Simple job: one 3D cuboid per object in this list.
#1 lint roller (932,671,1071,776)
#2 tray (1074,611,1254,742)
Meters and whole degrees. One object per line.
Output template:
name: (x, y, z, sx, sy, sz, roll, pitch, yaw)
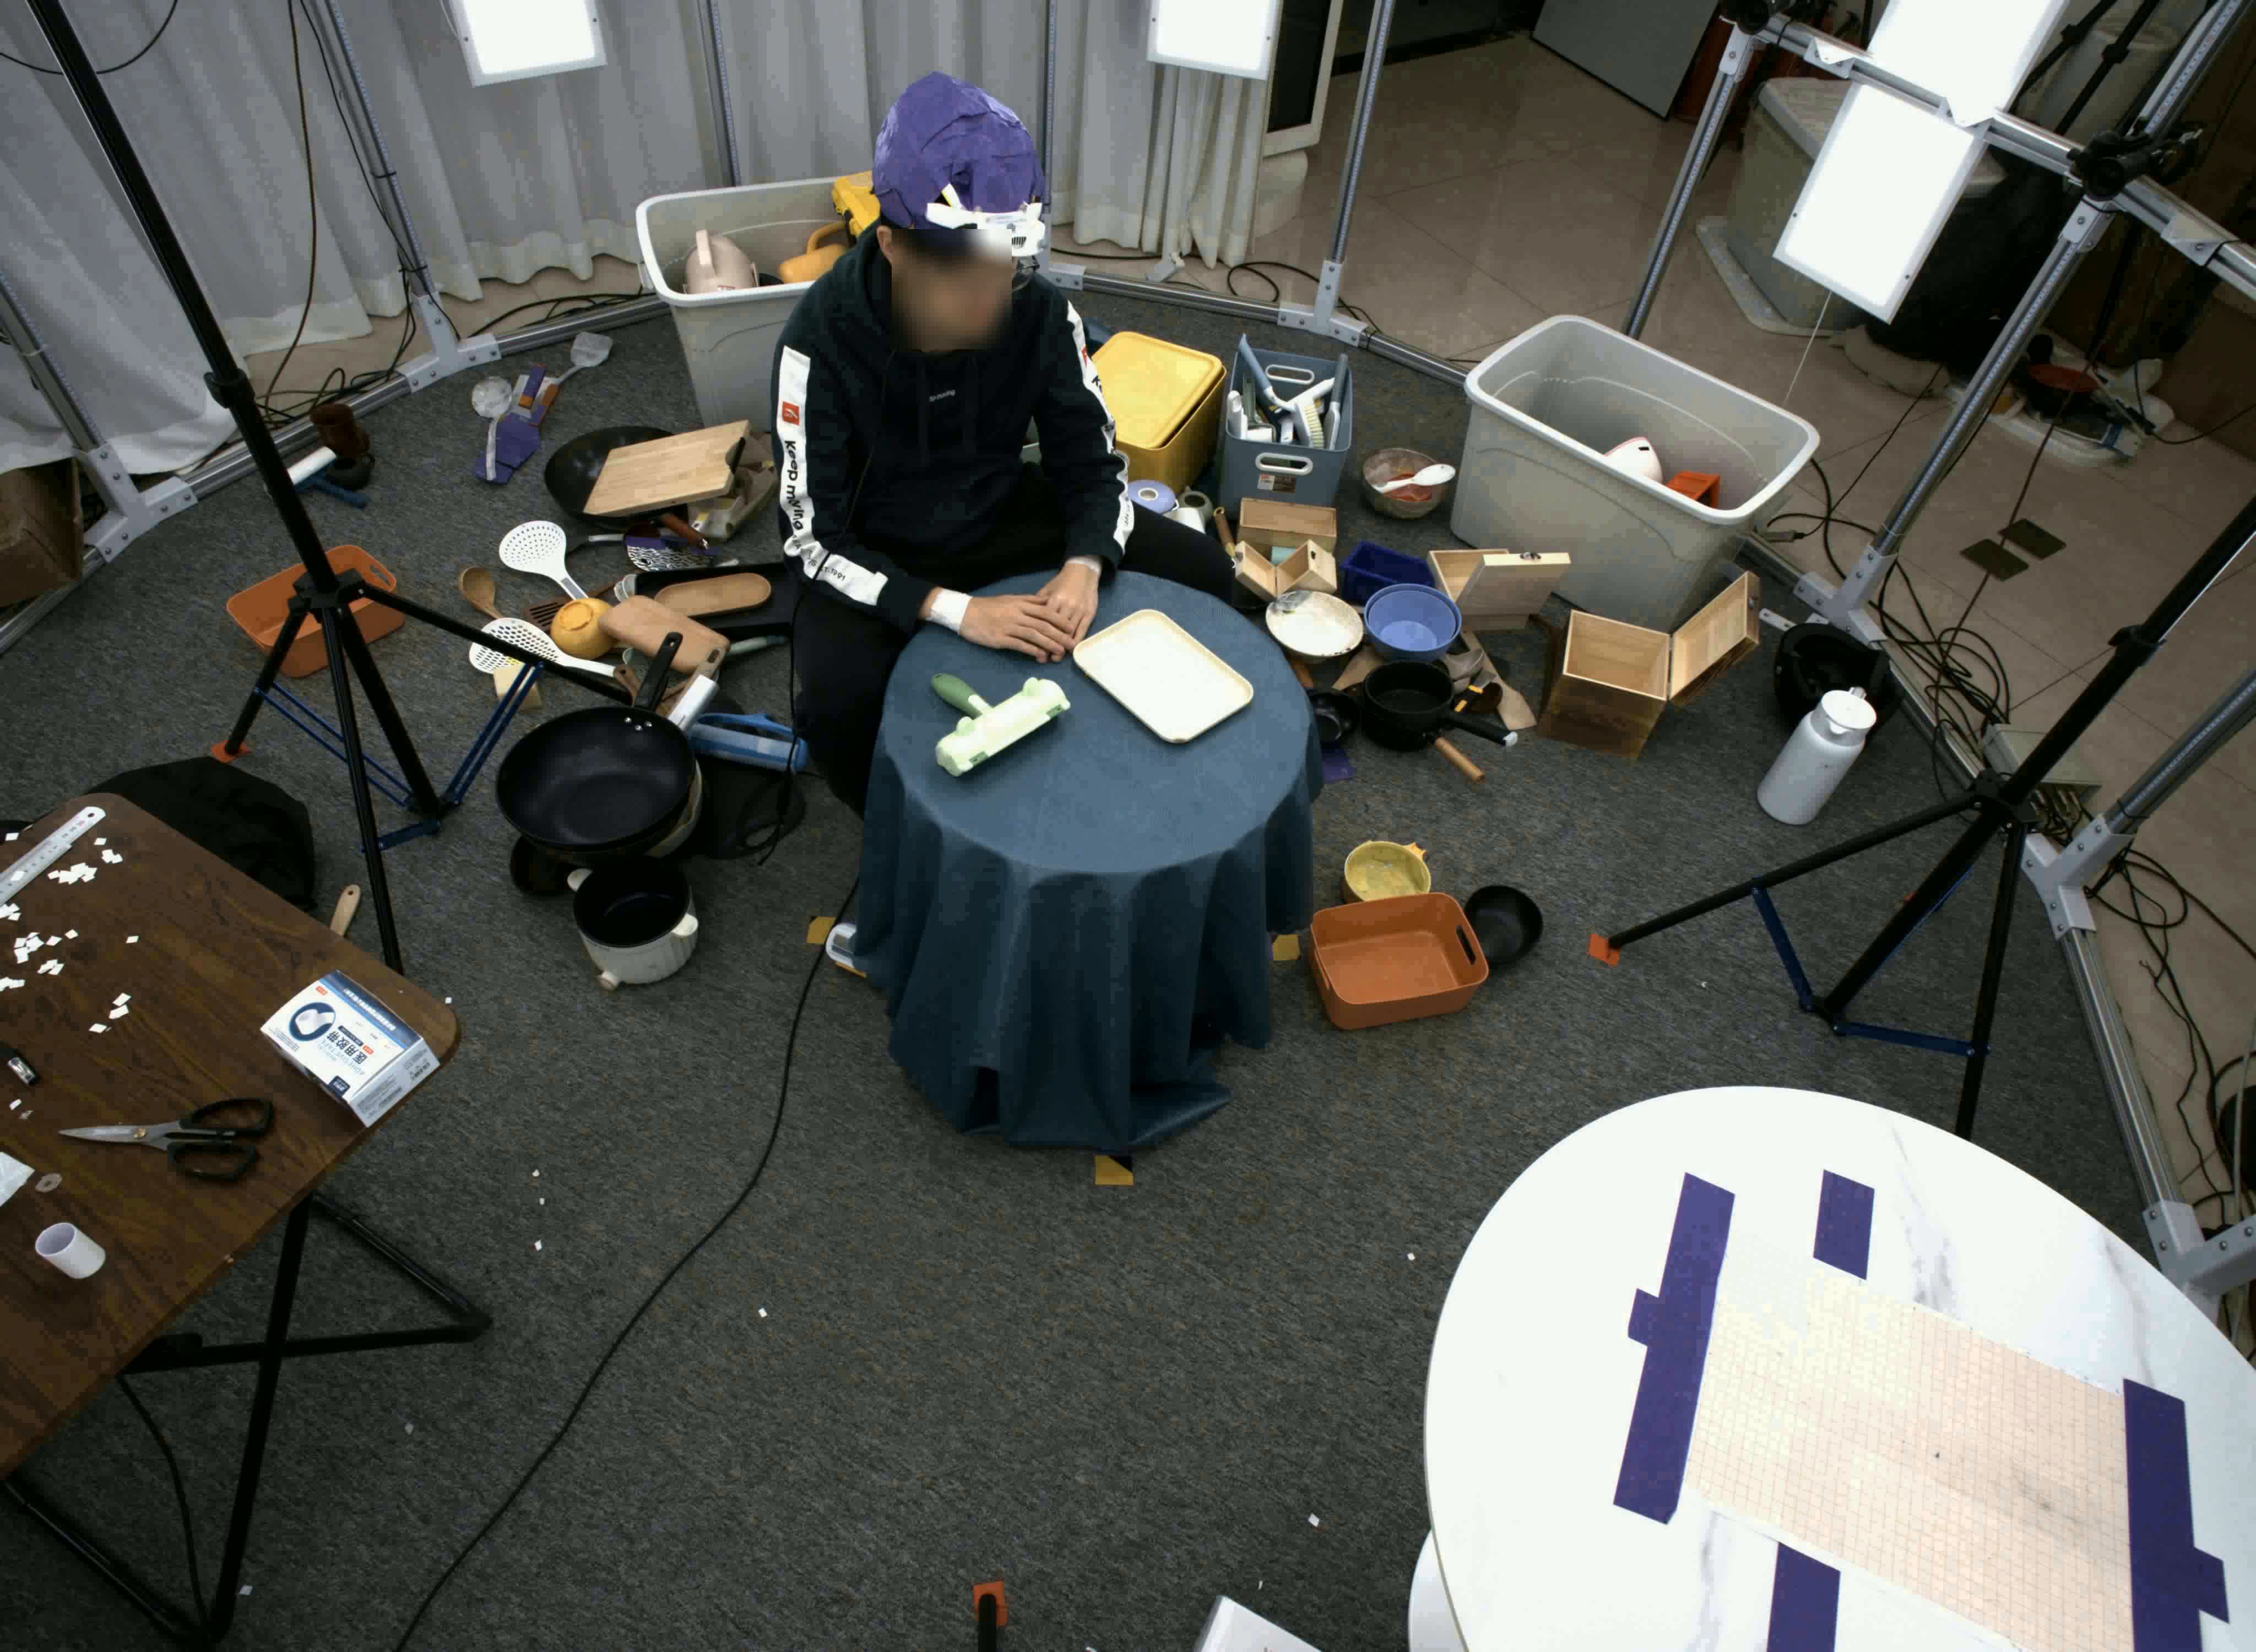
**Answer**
lint roller: (-0.207, -0.174, 1.756, 0.200, 0.080, 0.186, -34, 63, -28)
tray: (0.050, -0.217, 1.847, 0.172, 0.017, 0.244, -32, 58, -28)
